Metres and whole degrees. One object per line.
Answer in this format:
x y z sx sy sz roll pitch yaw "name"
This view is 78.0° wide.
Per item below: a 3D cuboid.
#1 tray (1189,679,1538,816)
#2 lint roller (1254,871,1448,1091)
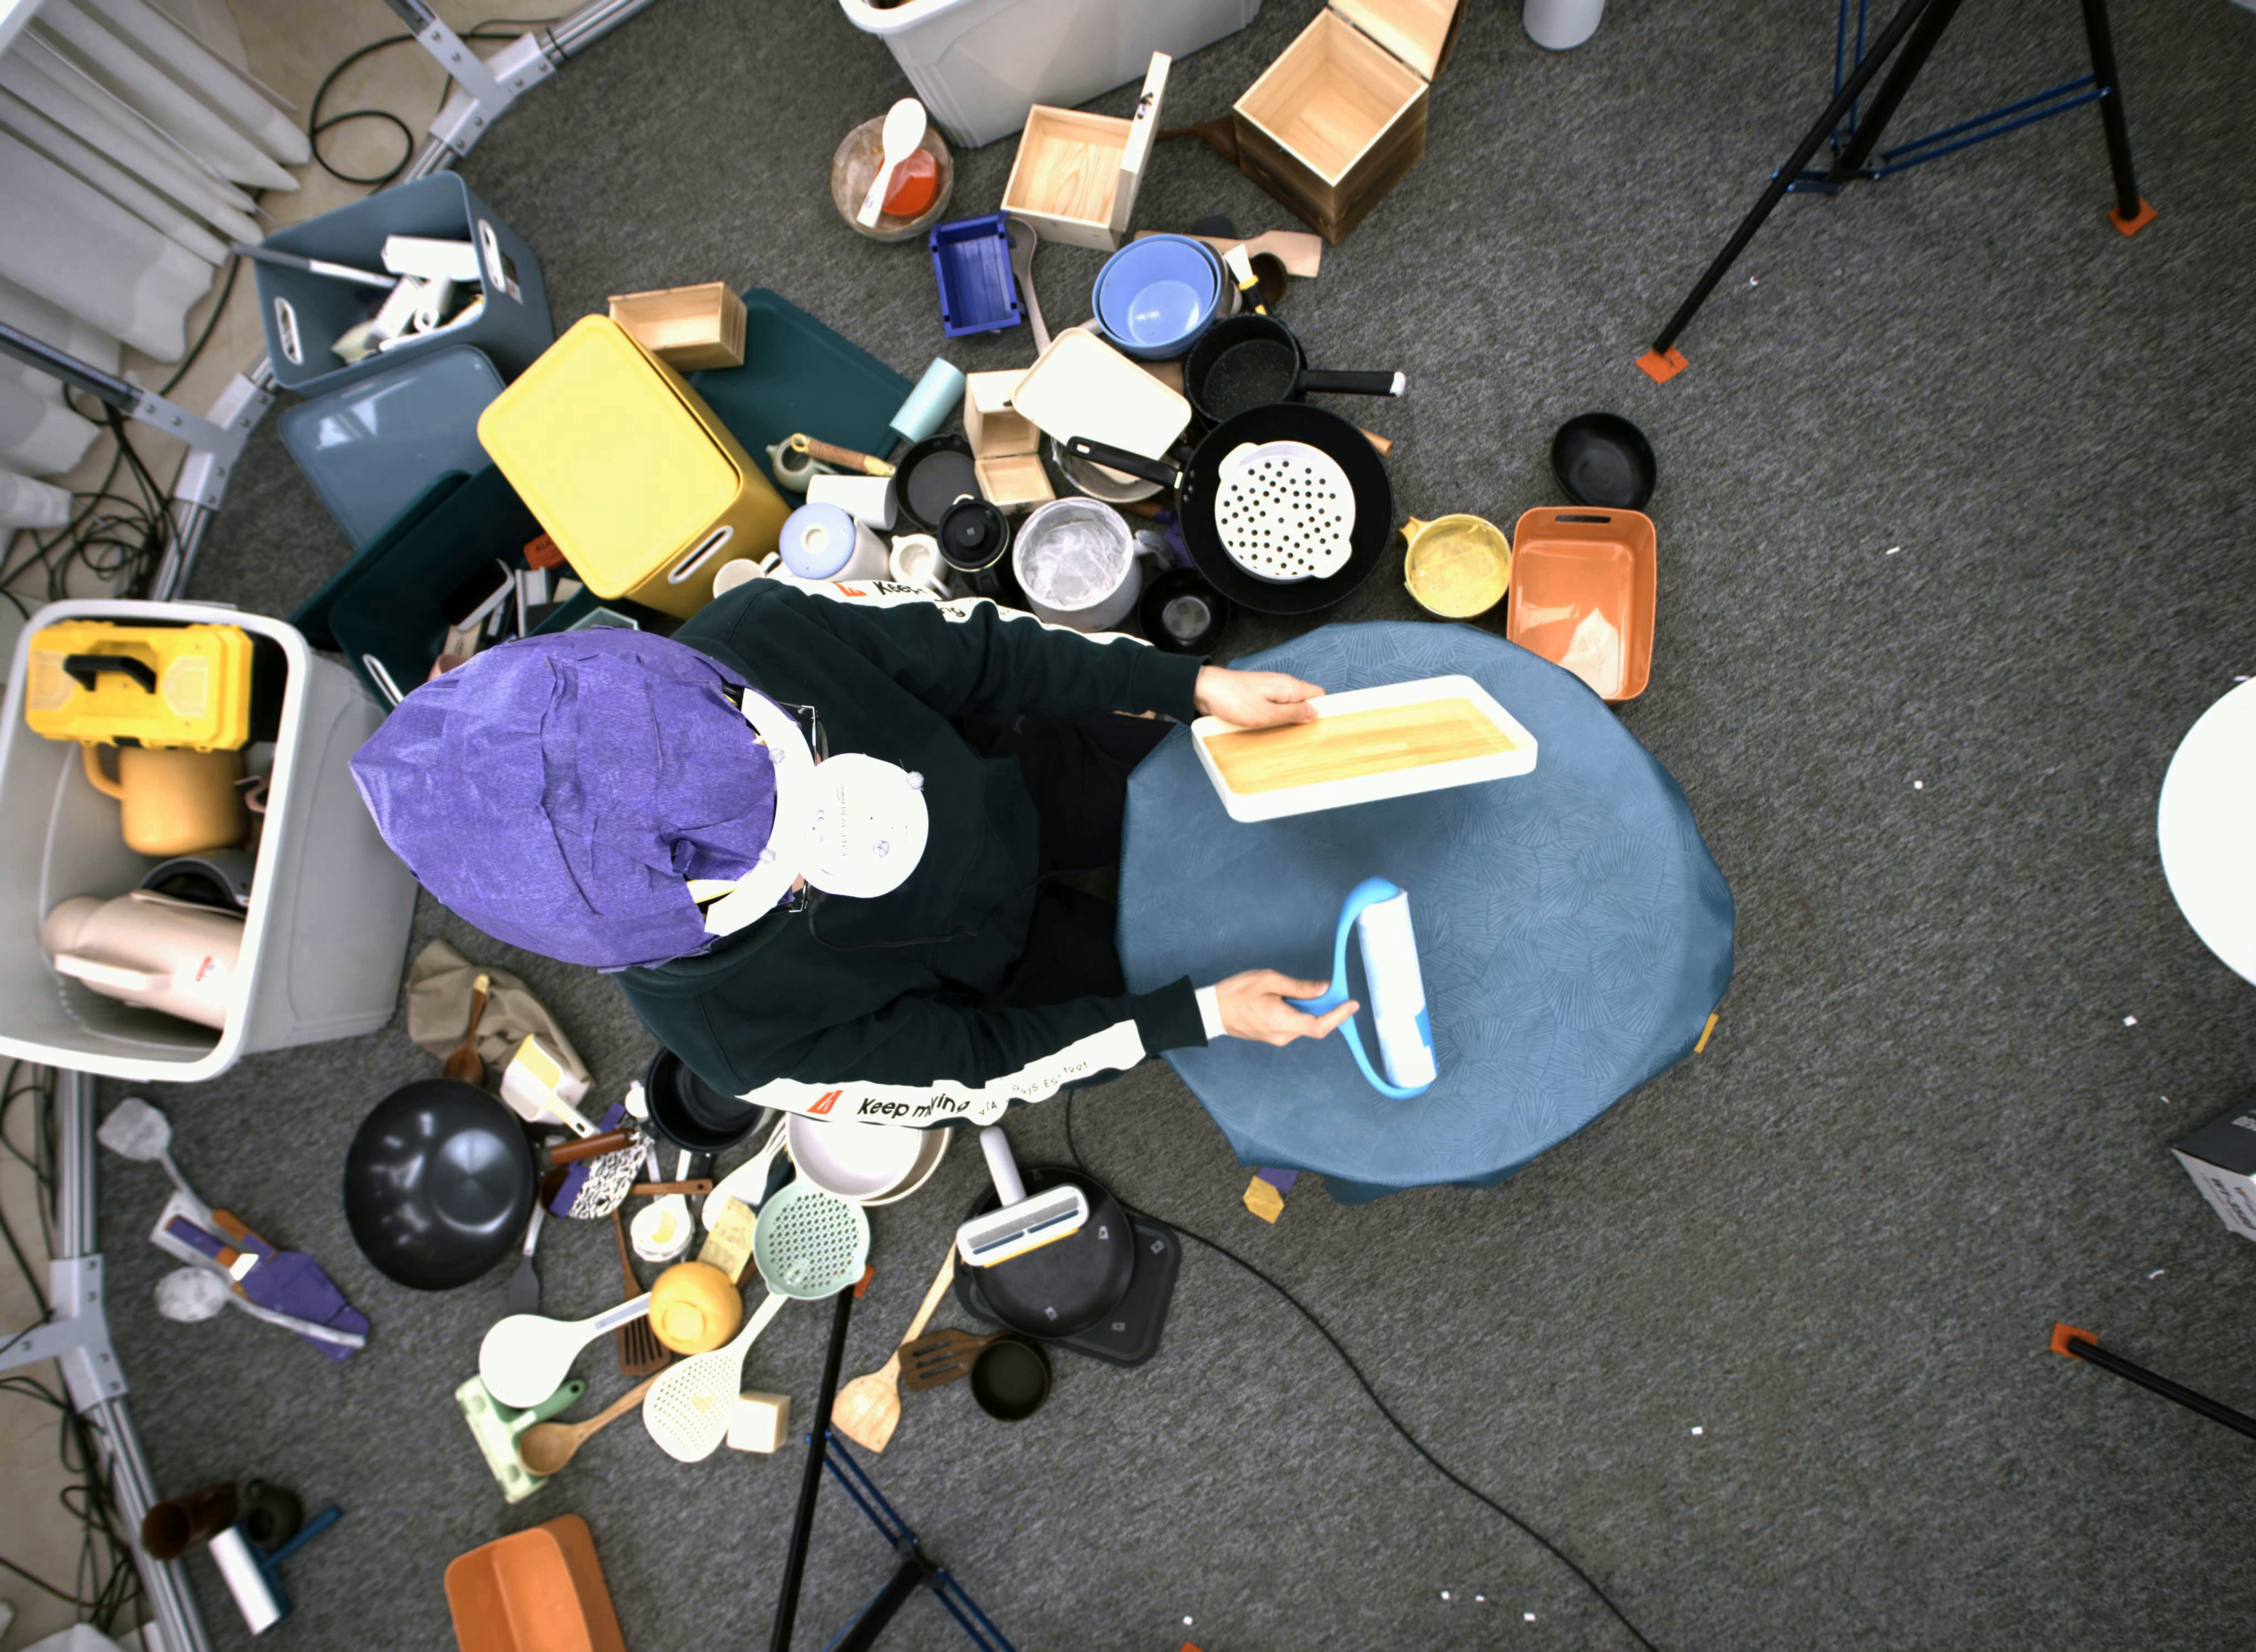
0.222 -0.081 1.332 0.300 0.188 0.028 -9 118 -5 "tray"
0.211 0.166 1.370 0.182 0.066 0.231 -14 107 16 "lint roller"
